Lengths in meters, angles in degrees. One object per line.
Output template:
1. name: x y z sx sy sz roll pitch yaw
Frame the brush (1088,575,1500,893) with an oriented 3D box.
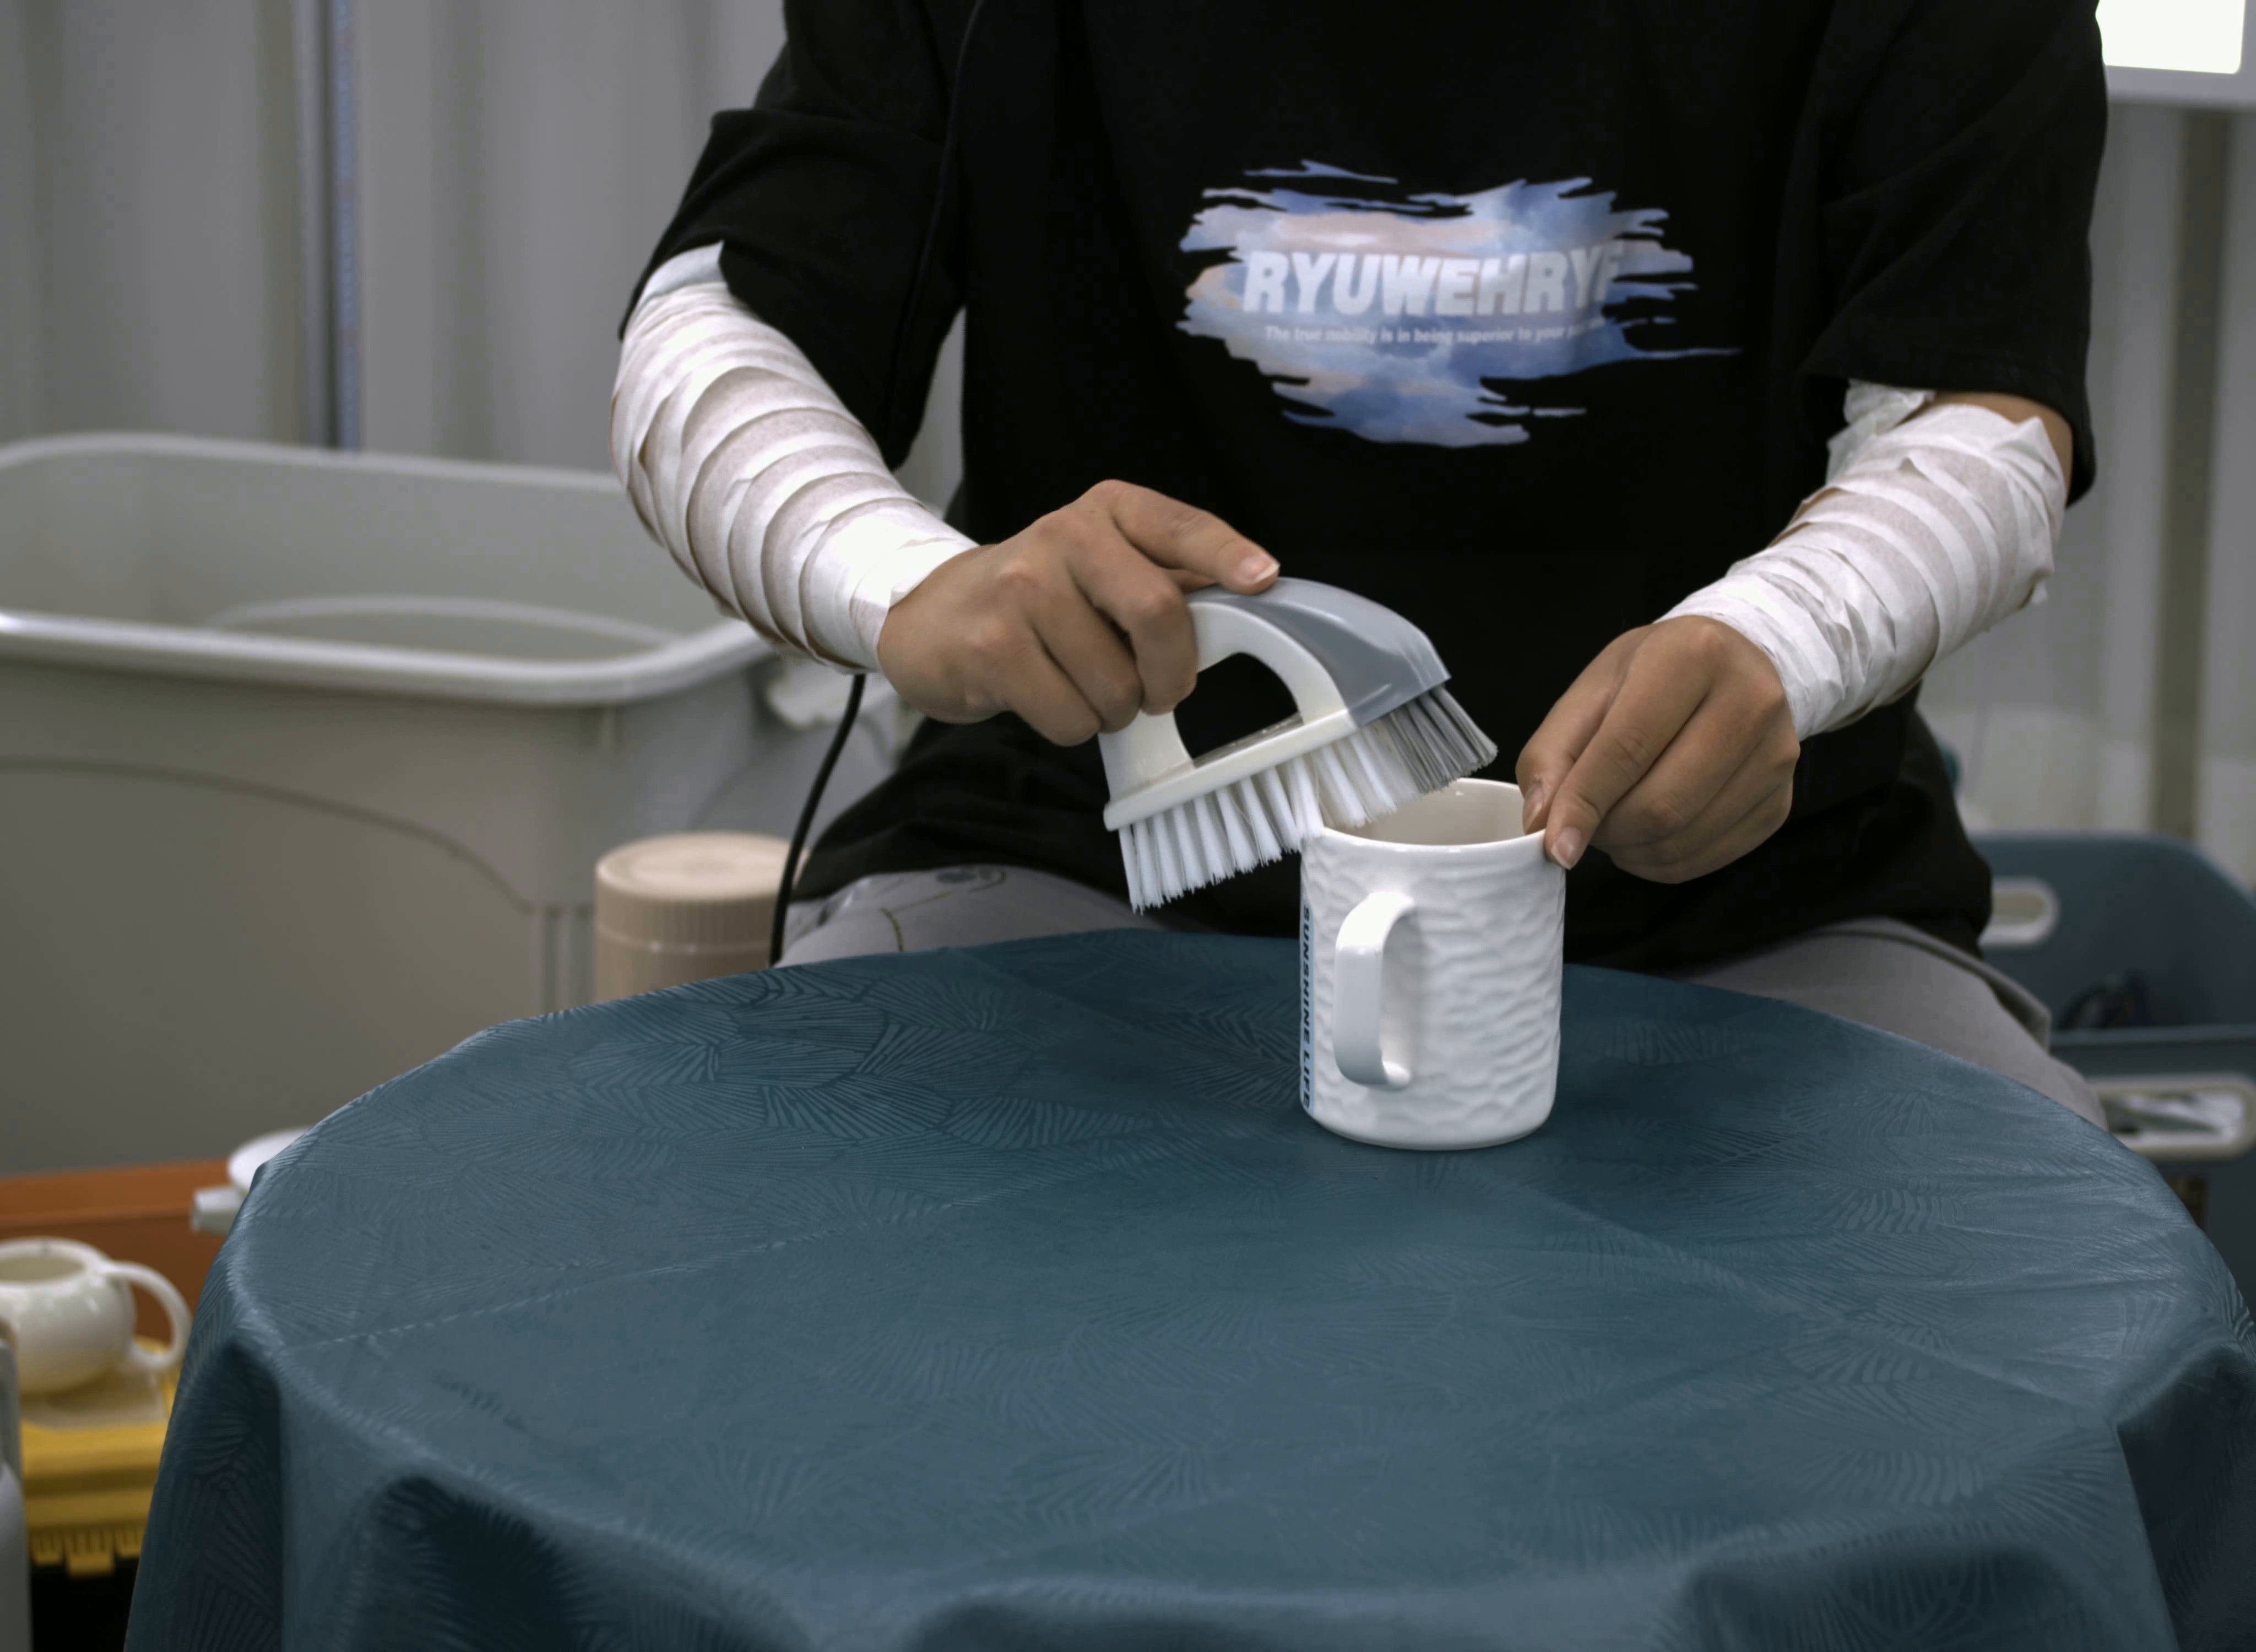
1. brush: 0.047 -0.039 1.688 0.061 0.095 0.174 -35 10 -34

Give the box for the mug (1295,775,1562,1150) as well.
1. mug: 0.090 0.047 1.669 0.084 0.103 0.118 6 17 18
